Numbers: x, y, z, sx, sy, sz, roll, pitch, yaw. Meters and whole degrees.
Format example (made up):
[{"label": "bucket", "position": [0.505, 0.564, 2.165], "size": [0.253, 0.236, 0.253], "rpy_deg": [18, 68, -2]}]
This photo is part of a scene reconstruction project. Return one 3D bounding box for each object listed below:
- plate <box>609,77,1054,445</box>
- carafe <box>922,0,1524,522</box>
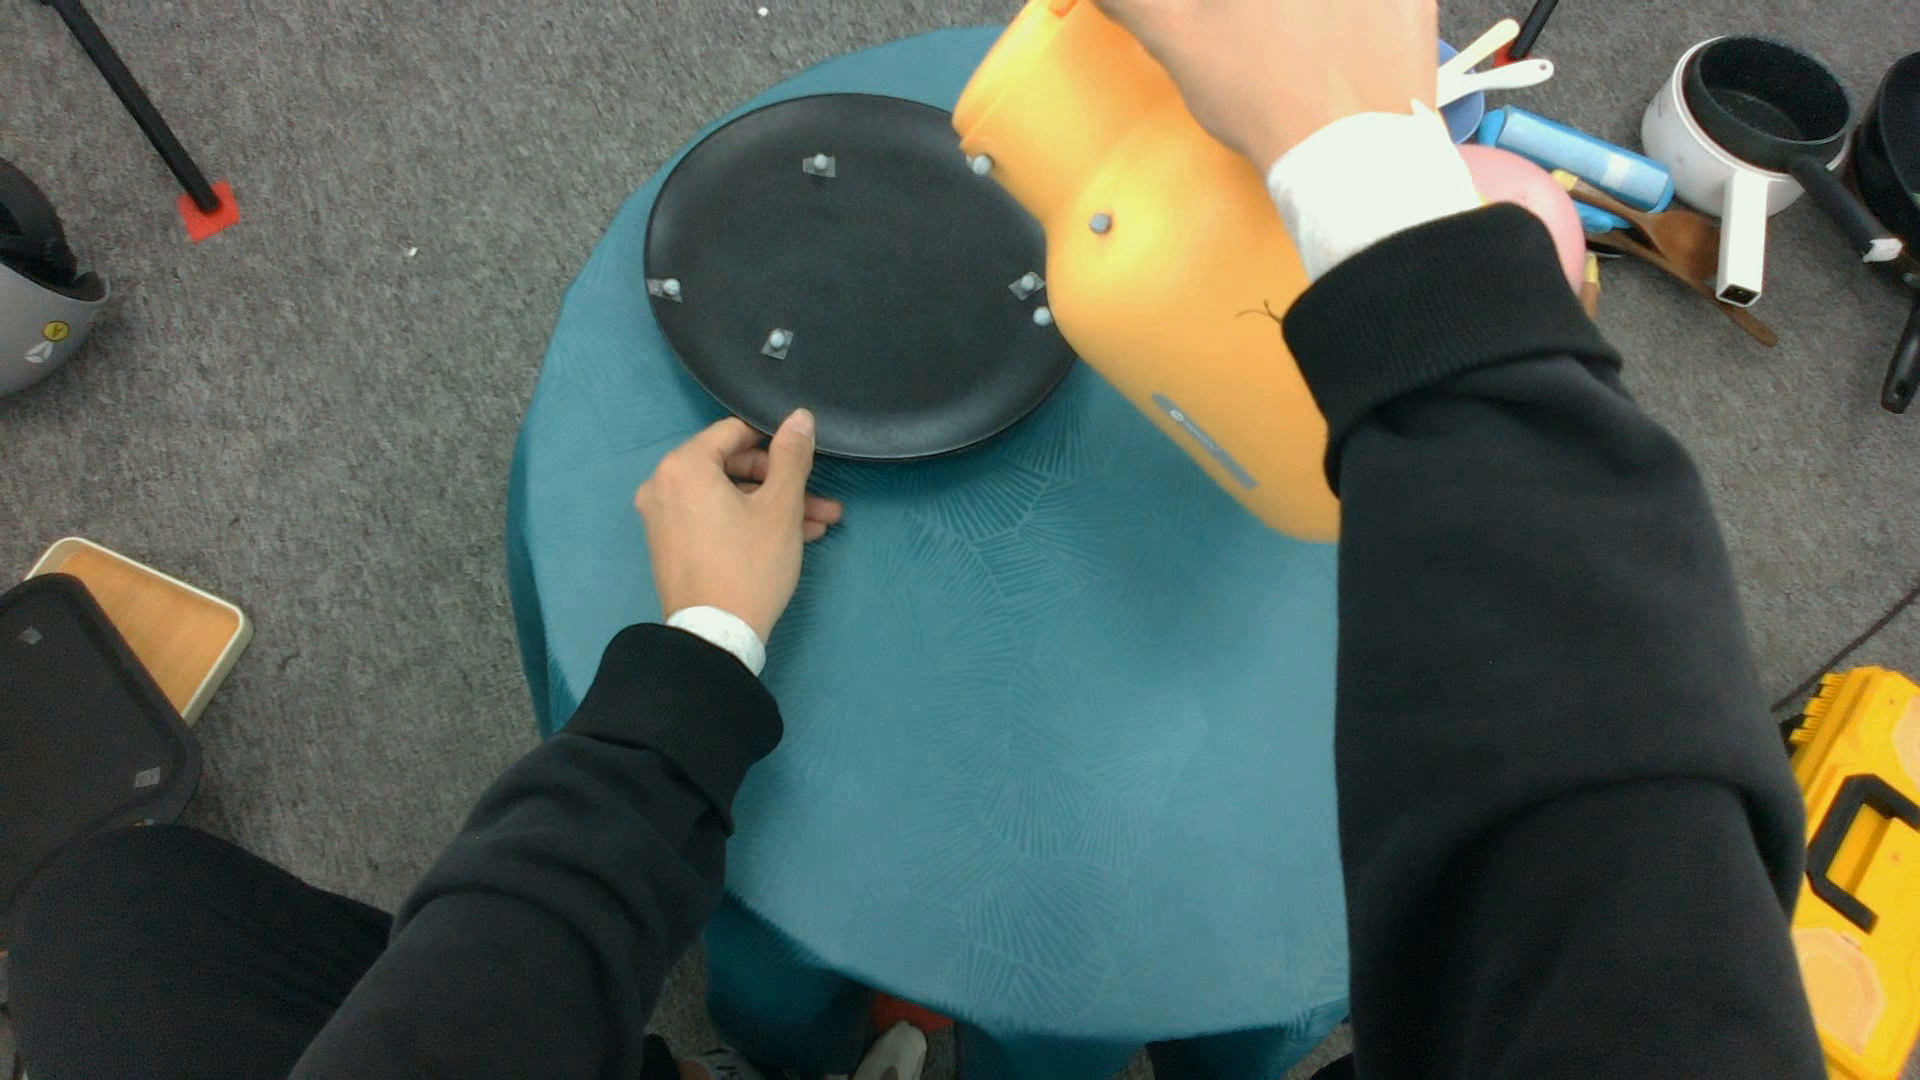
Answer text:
[{"label": "plate", "position": [-0.066, -0.154, 0.752], "size": [0.244, 0.023, 0.245], "rpy_deg": [4, 63, -8]}, {"label": "carafe", "position": [0.111, -0.139, 0.582], "size": [0.260, 0.202, 0.164], "rpy_deg": [38, 72, -11]}]
